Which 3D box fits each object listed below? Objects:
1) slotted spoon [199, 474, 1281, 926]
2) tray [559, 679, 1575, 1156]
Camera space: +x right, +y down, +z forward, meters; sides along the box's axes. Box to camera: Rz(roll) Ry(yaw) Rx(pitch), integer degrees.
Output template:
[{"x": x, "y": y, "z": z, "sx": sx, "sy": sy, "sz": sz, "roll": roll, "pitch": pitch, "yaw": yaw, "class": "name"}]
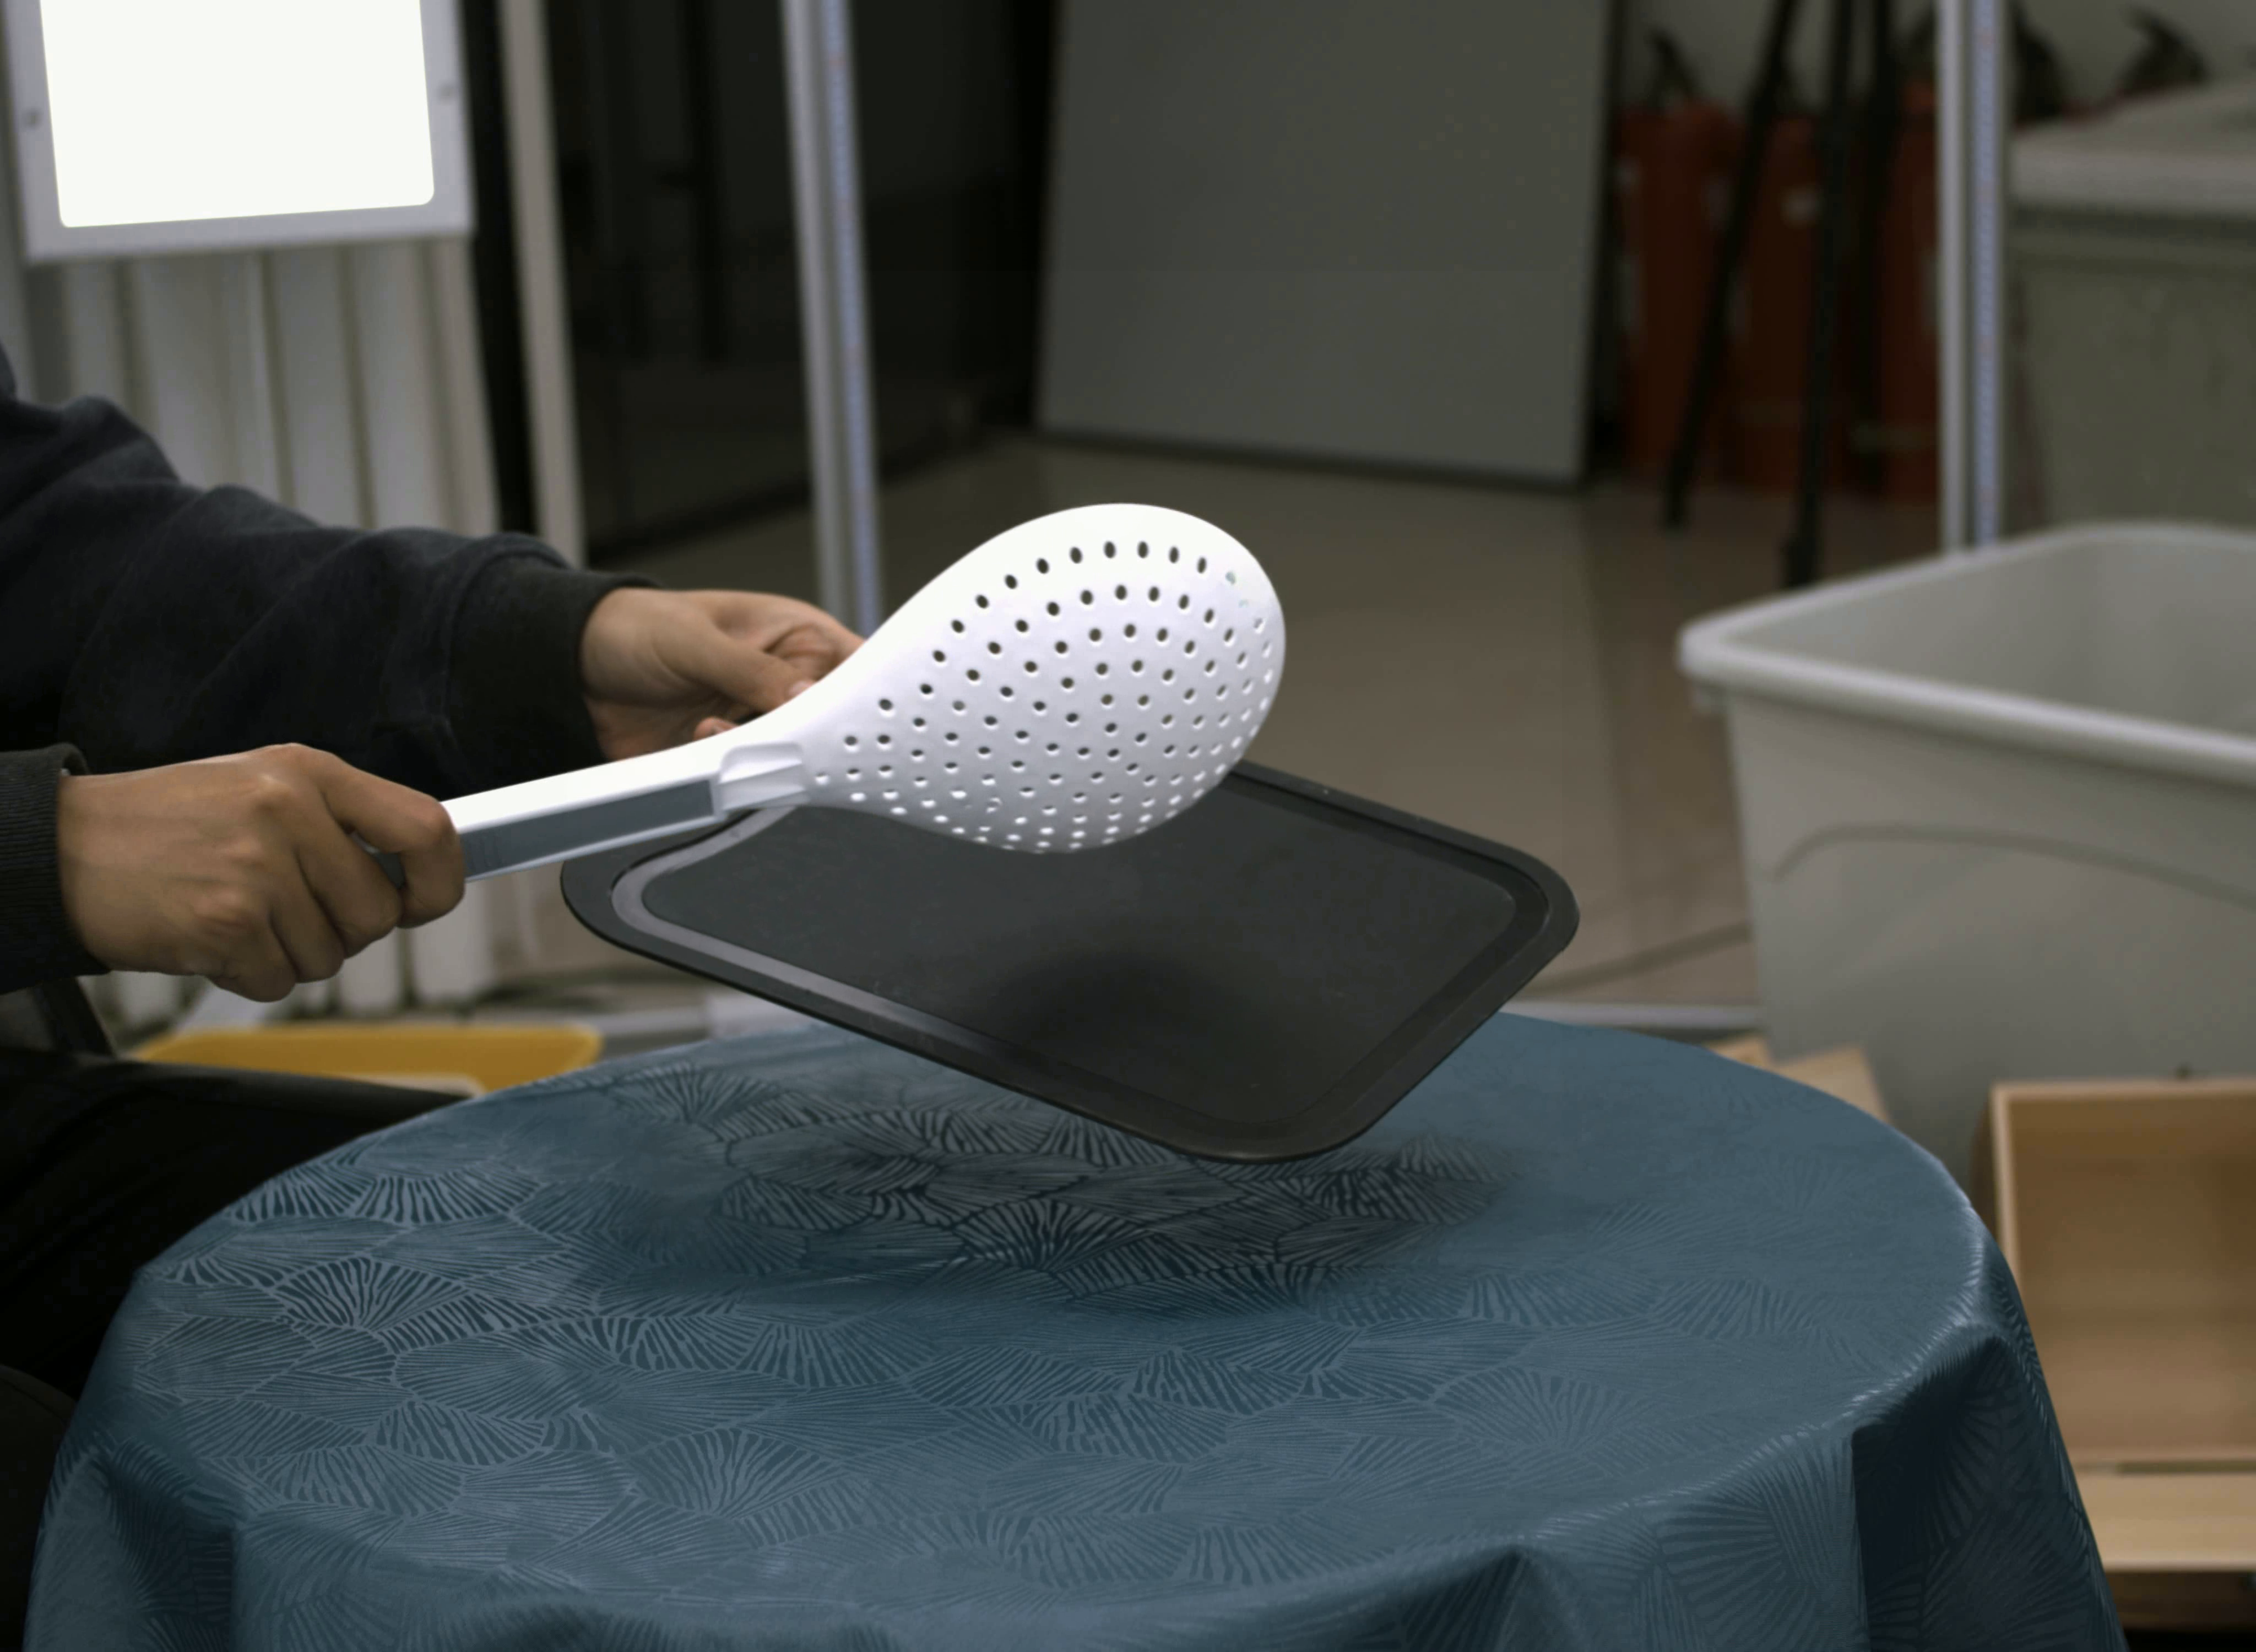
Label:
[{"x": -0.116, "y": -0.023, "z": 1.679, "sx": 0.344, "sy": 0.136, "sz": 0.046, "roll": -11, "pitch": 38, "yaw": -5, "class": "slotted spoon"}, {"x": -0.028, "y": 0.020, "z": 1.771, "sx": 0.327, "sy": 0.010, "sz": 0.208, "roll": 18, "pitch": 36, "yaw": 30, "class": "tray"}]
